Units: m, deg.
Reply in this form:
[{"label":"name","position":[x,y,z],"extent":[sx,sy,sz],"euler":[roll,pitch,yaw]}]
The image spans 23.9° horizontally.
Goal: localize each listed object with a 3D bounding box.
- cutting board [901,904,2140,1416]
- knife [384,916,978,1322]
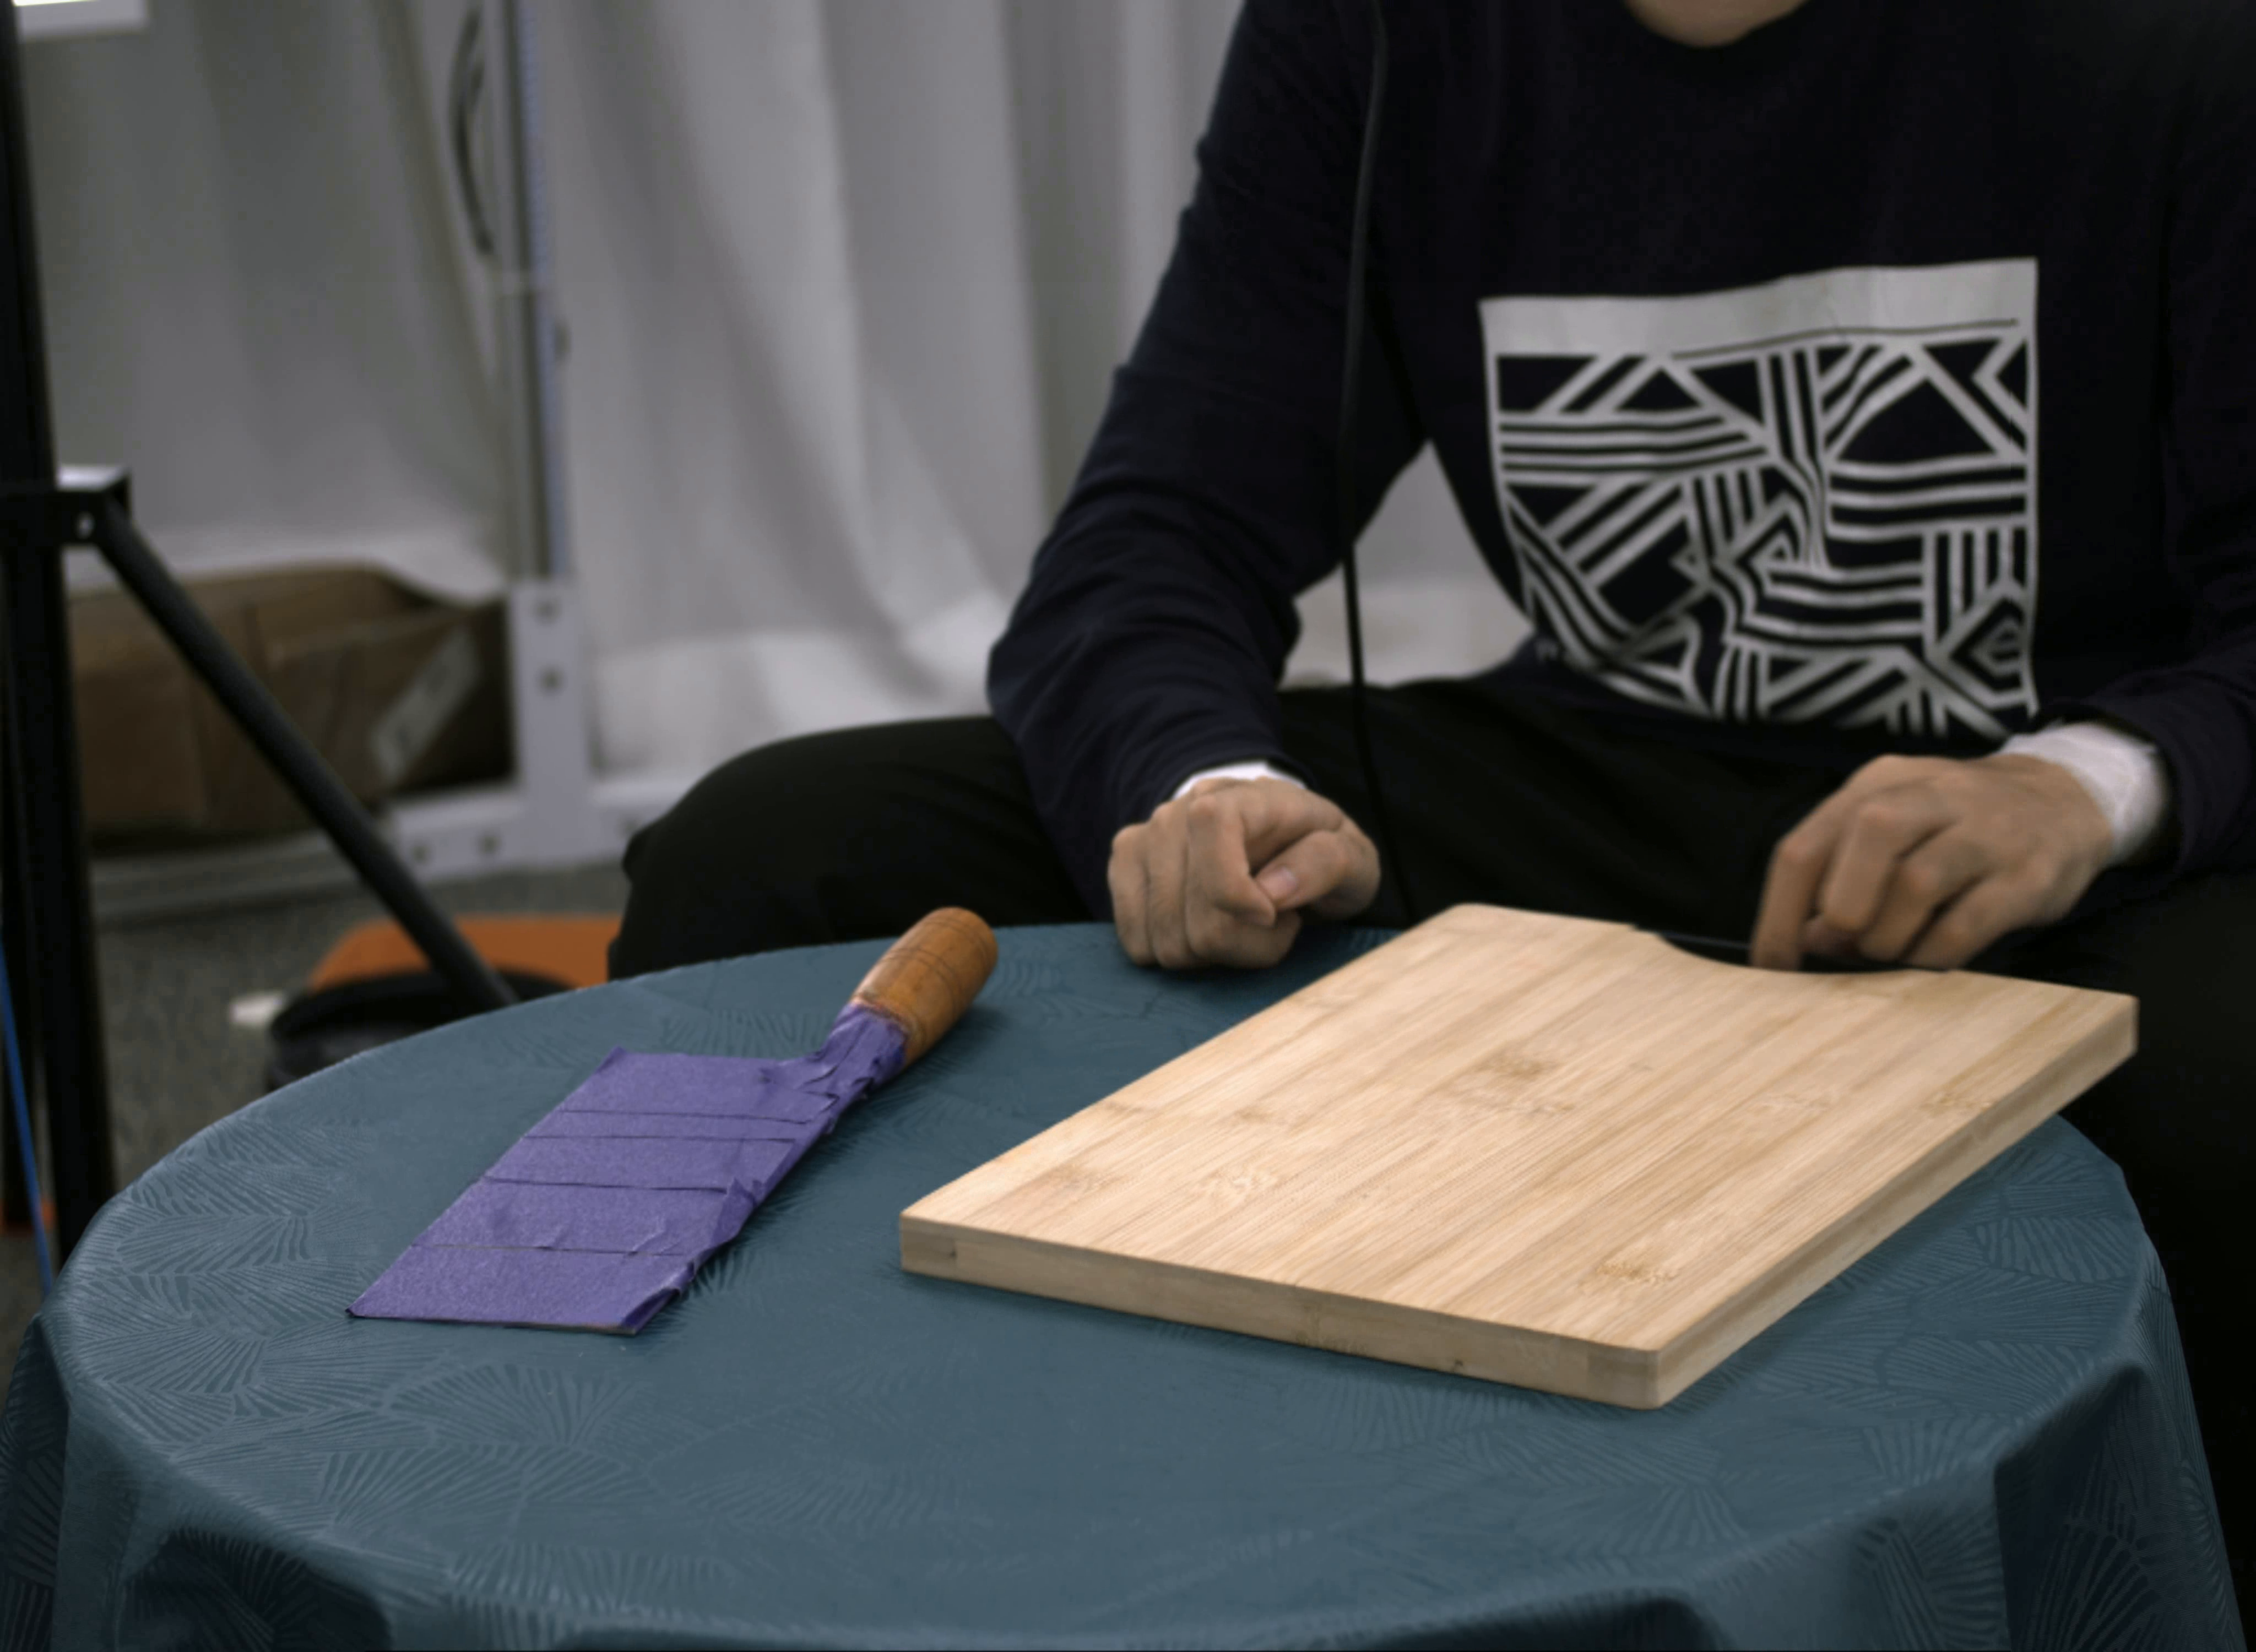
[{"label":"cutting board","position":[0.125,0.090,1.577],"extent":[0.255,0.023,0.342],"euler":[7,18,31]},{"label":"knife","position":[-0.132,0.085,1.614],"extent":[0.105,0.032,0.312],"euler":[2,17,16]}]
